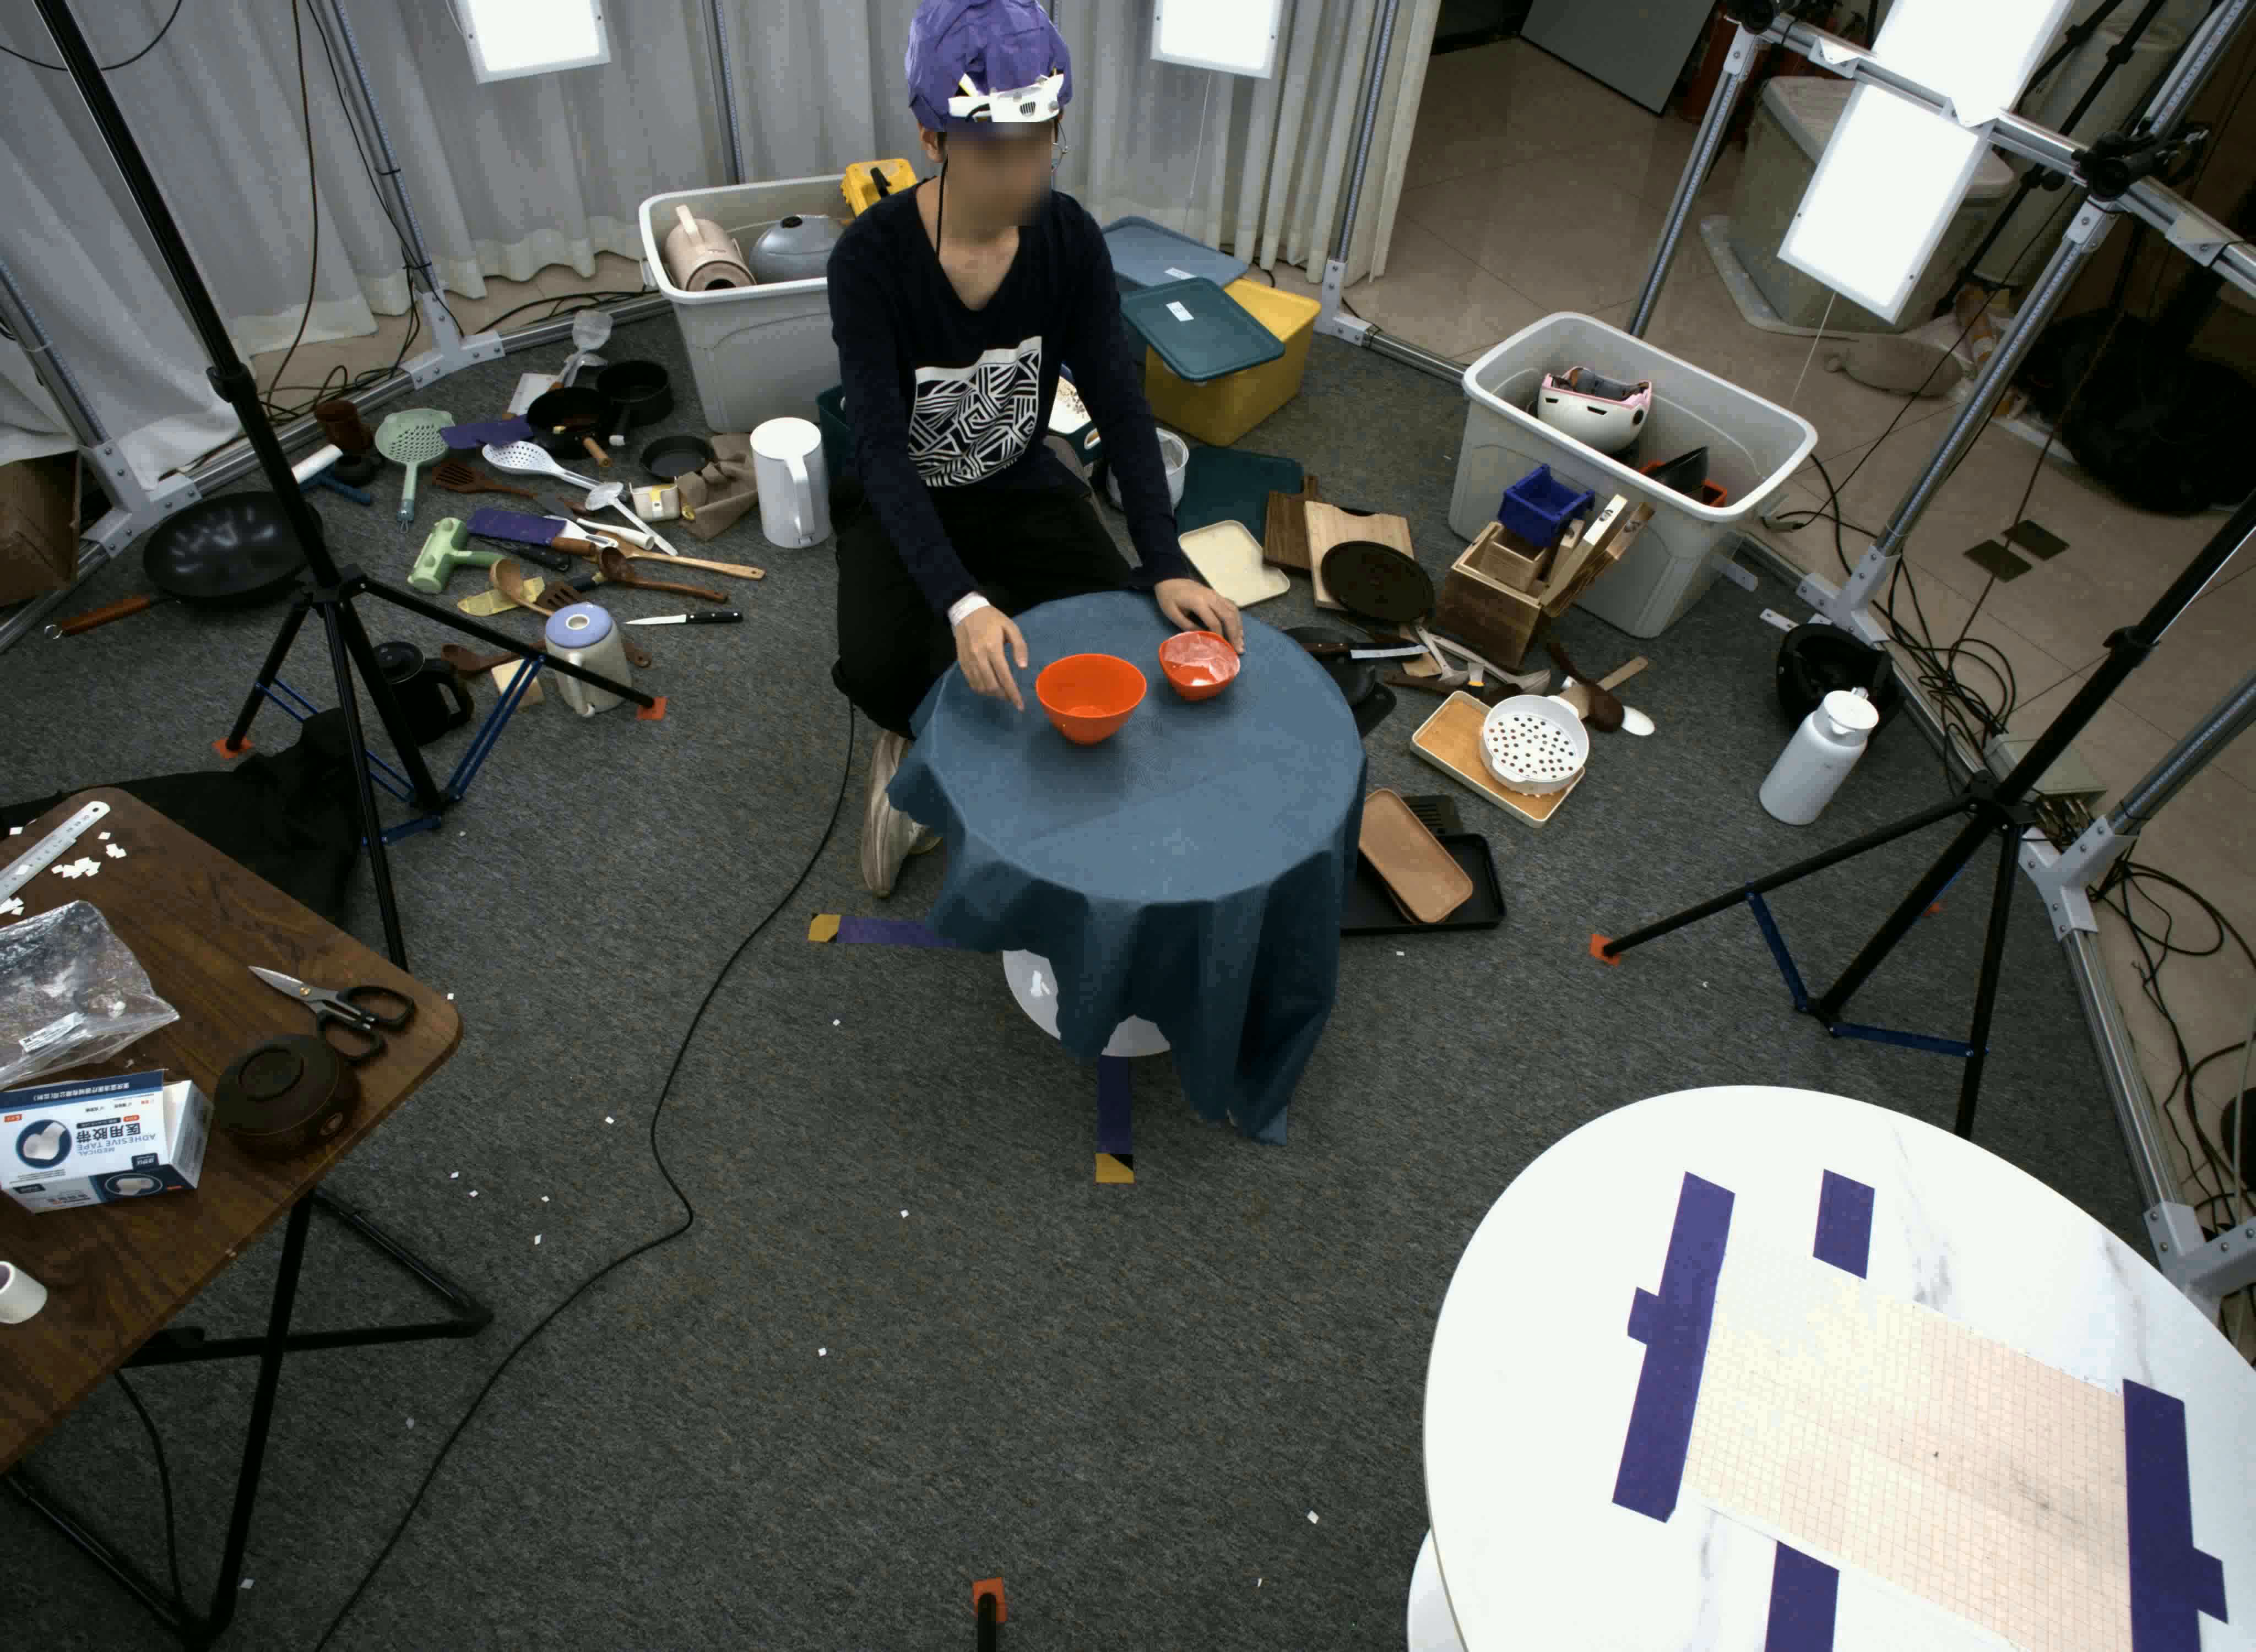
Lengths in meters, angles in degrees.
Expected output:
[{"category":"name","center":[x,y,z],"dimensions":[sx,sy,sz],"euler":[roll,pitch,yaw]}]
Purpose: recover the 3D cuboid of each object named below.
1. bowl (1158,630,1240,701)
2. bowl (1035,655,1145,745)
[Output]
[{"category":"bowl","center":[0.100,-0.223,1.835],"dimensions":[0.119,0.050,0.122],"euler":[1,50,-1]},{"category":"bowl","center":[-0.053,-0.160,1.739],"dimensions":[0.148,0.102,0.152],"euler":[1,48,-2]}]
